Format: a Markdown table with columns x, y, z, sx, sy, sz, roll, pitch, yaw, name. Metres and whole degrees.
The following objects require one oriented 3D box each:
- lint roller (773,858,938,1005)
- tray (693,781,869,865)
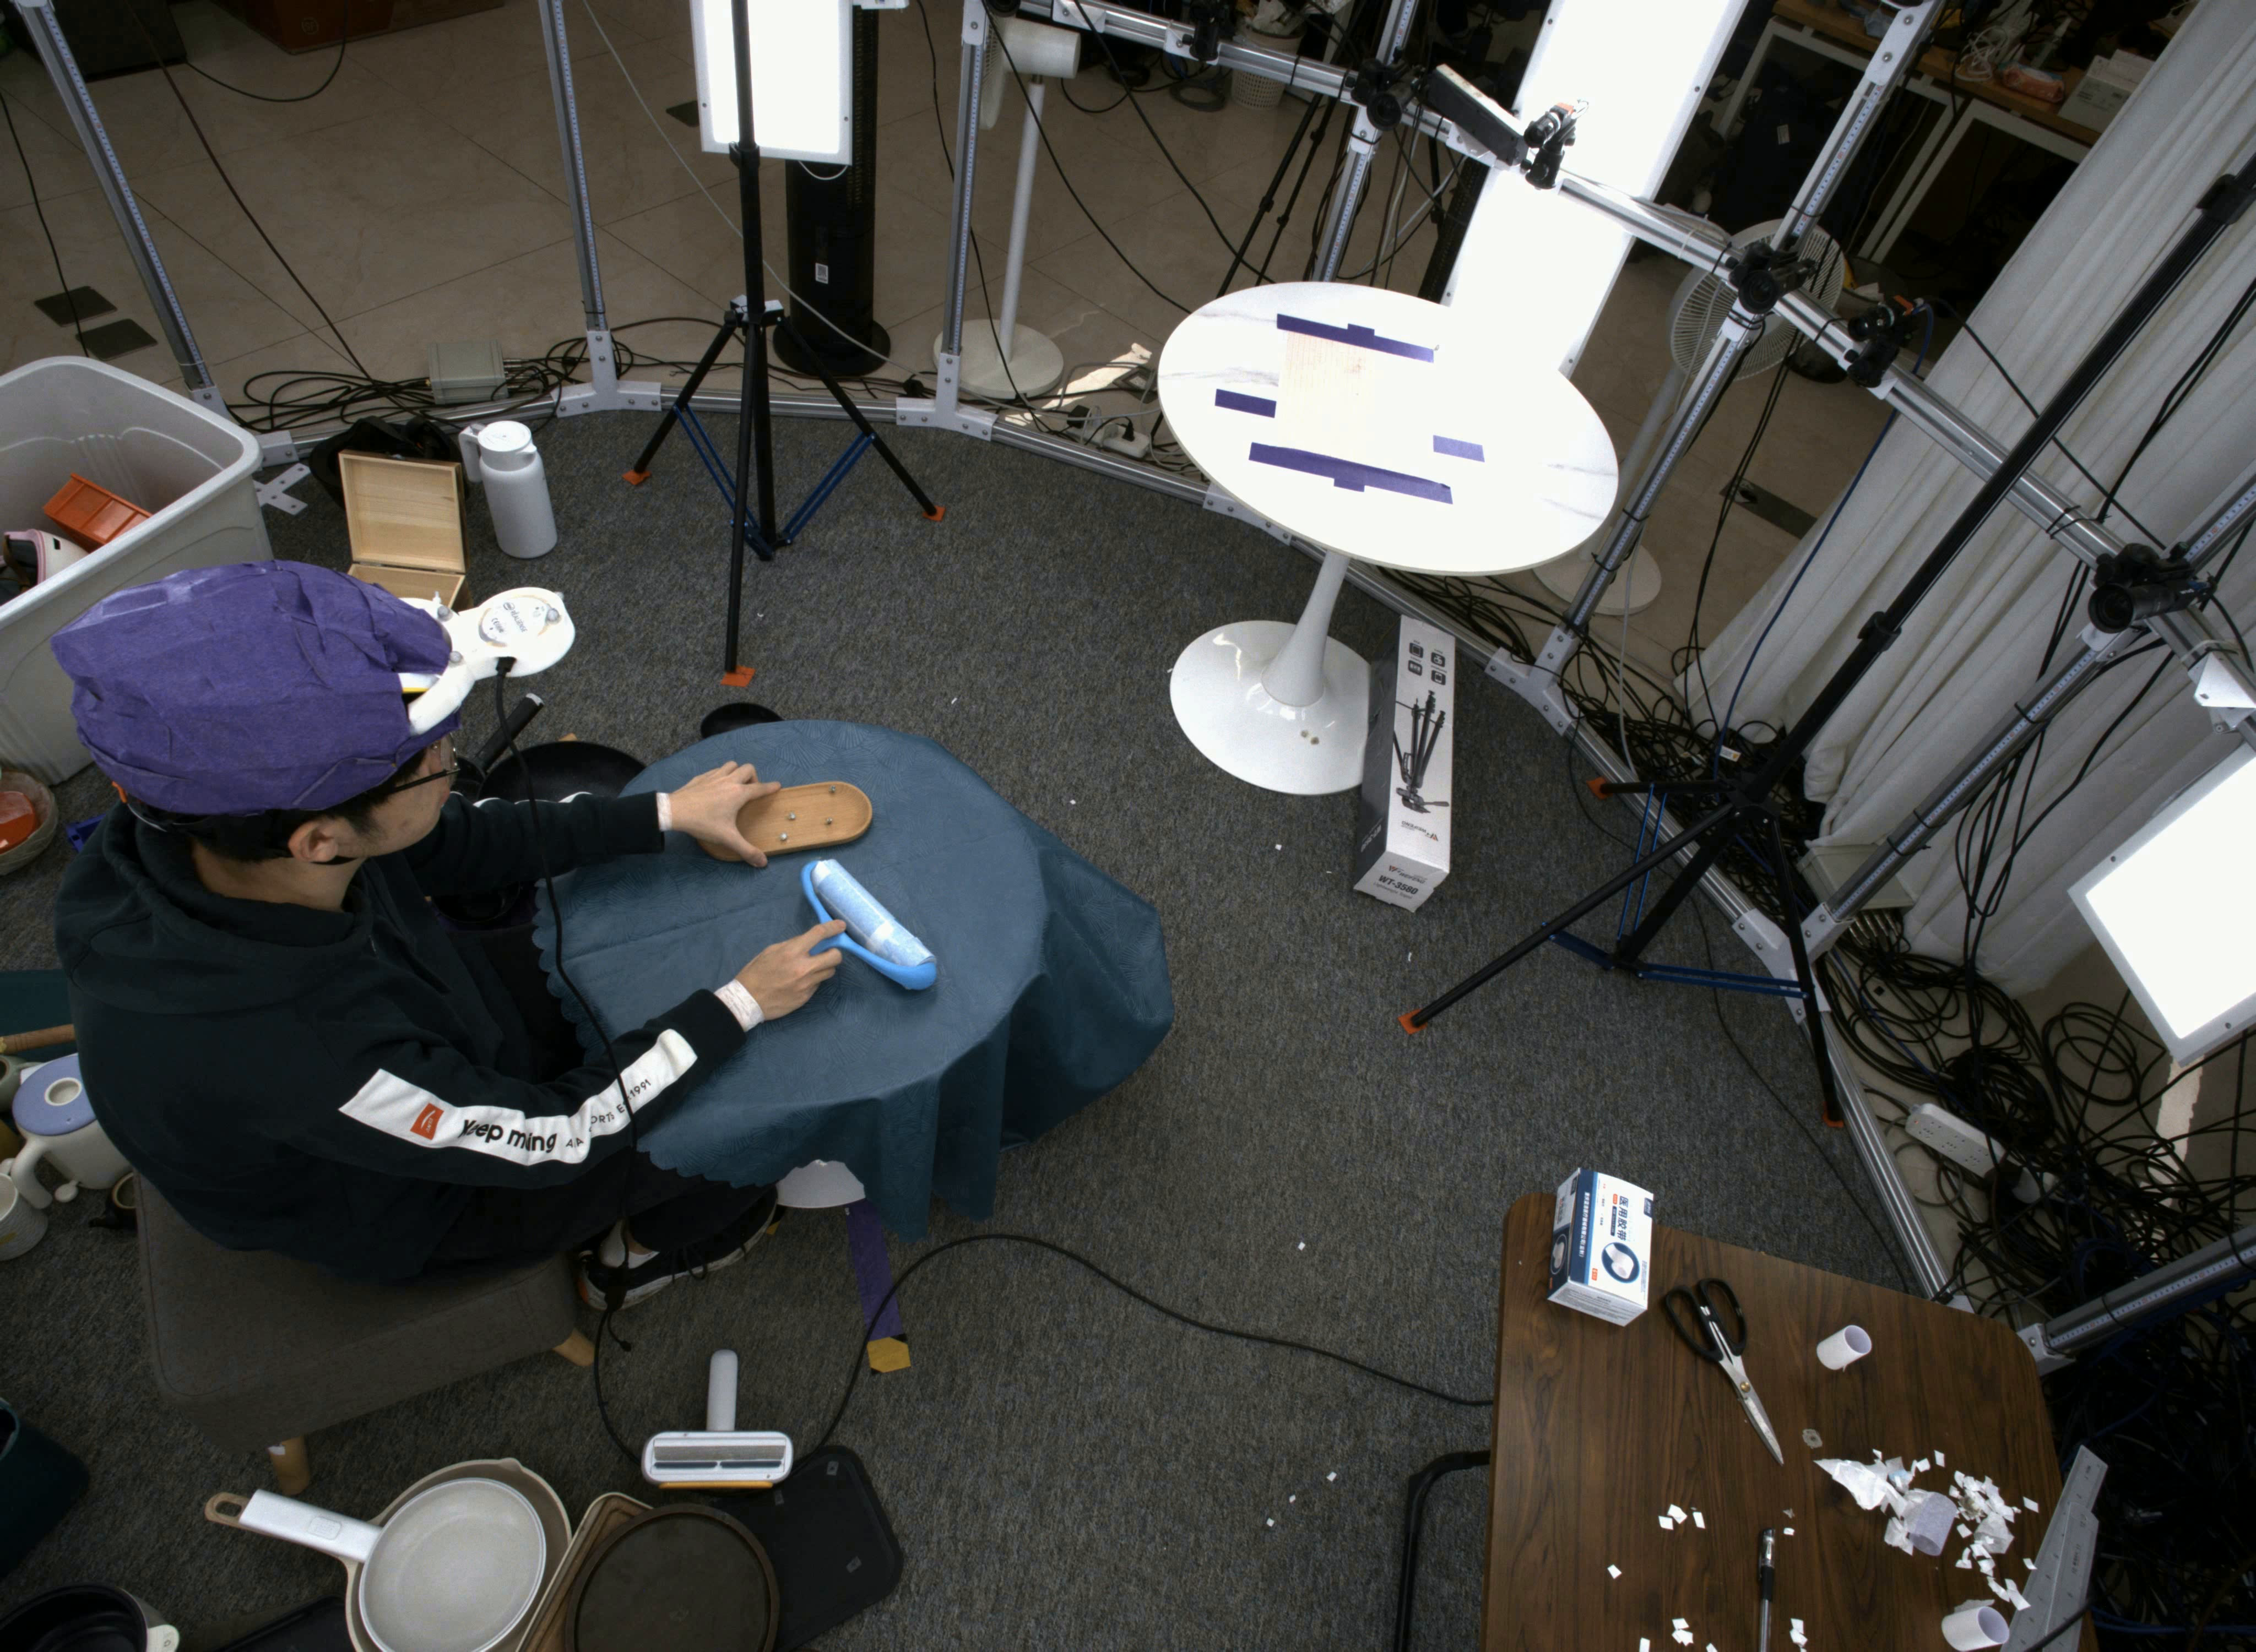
| x | y | z | sx | sy | sz | roll | pitch | yaw | name |
| --- | --- | --- | --- | --- | --- | --- | --- | --- | --- |
| -0.361 | 0.149 | 1.599 | 0.224 | 0.069 | 0.180 | 40 | 54 | 13 | lint roller |
| -0.457 | -0.005 | 1.715 | 0.232 | 0.021 | 0.099 | -12 | 57 | -21 | tray |
